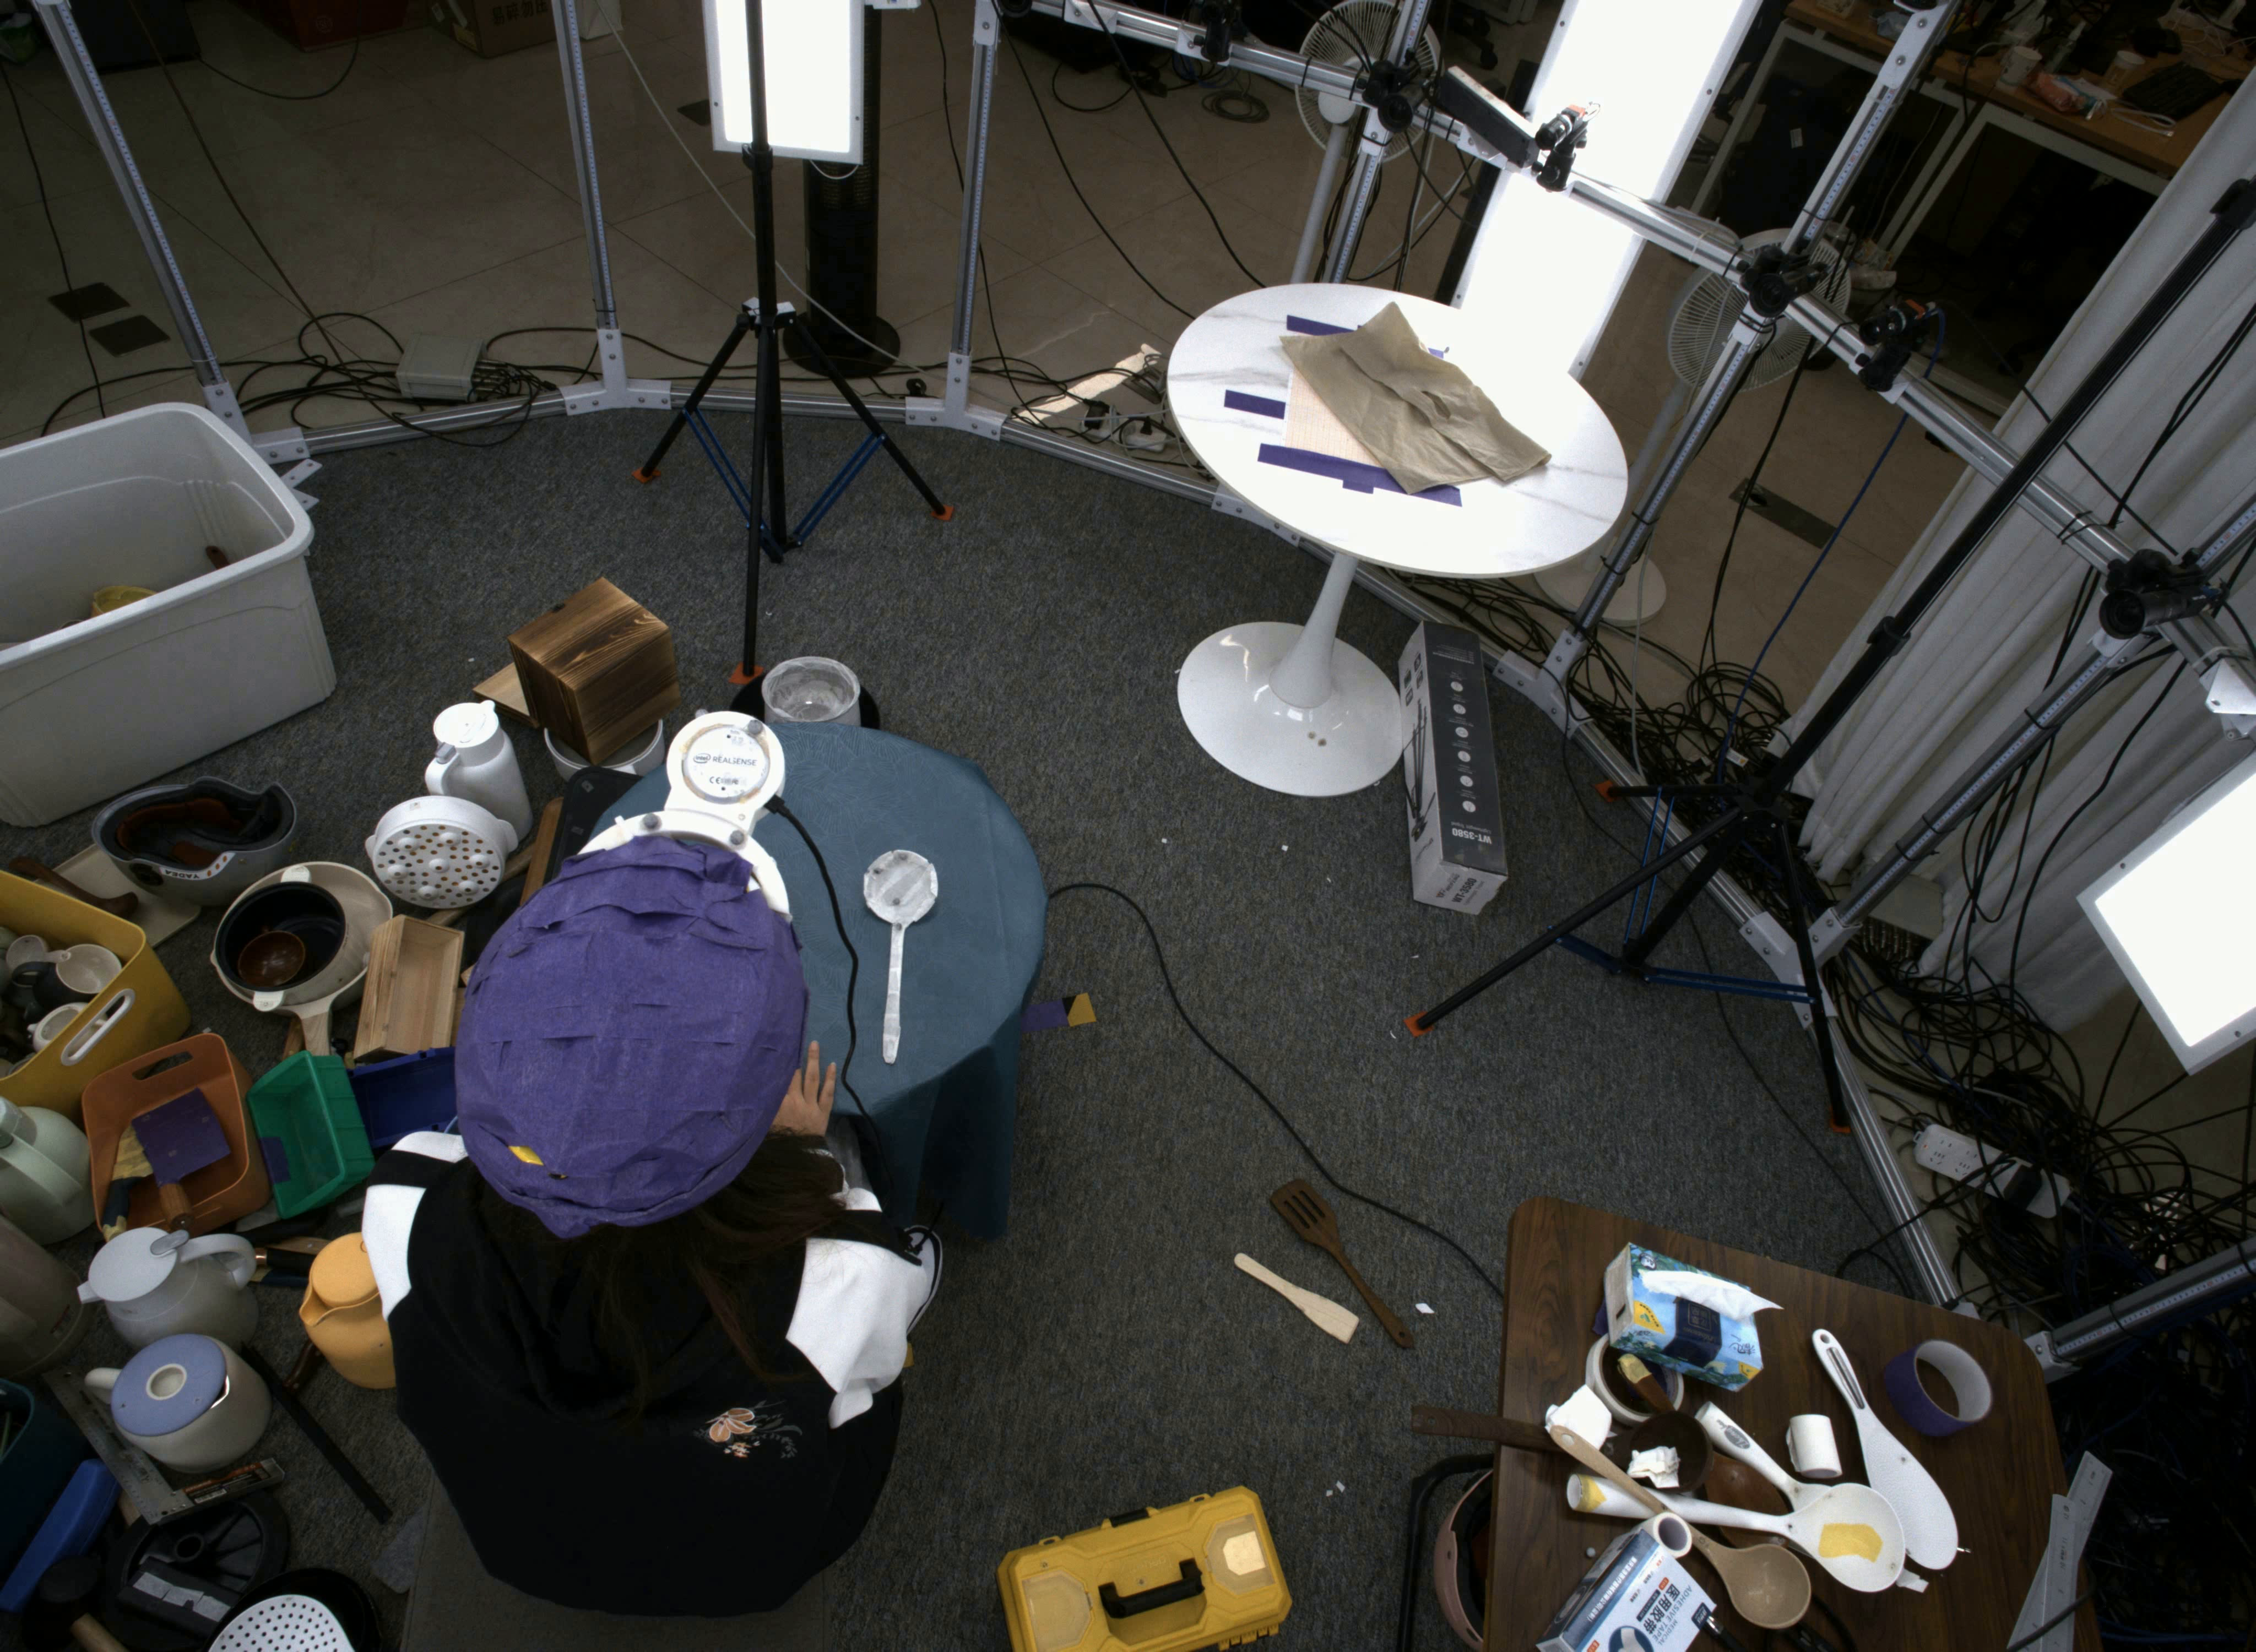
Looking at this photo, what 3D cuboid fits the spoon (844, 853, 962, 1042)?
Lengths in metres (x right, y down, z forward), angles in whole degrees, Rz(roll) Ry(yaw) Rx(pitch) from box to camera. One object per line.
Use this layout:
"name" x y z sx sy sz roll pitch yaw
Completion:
"spoon" -0.279 0.161 1.709 0.100 0.288 0.057 -26 31 -6

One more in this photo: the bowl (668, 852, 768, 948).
"bowl" -0.500 0.096 1.580 0.118 0.071 0.116 7 52 -8
